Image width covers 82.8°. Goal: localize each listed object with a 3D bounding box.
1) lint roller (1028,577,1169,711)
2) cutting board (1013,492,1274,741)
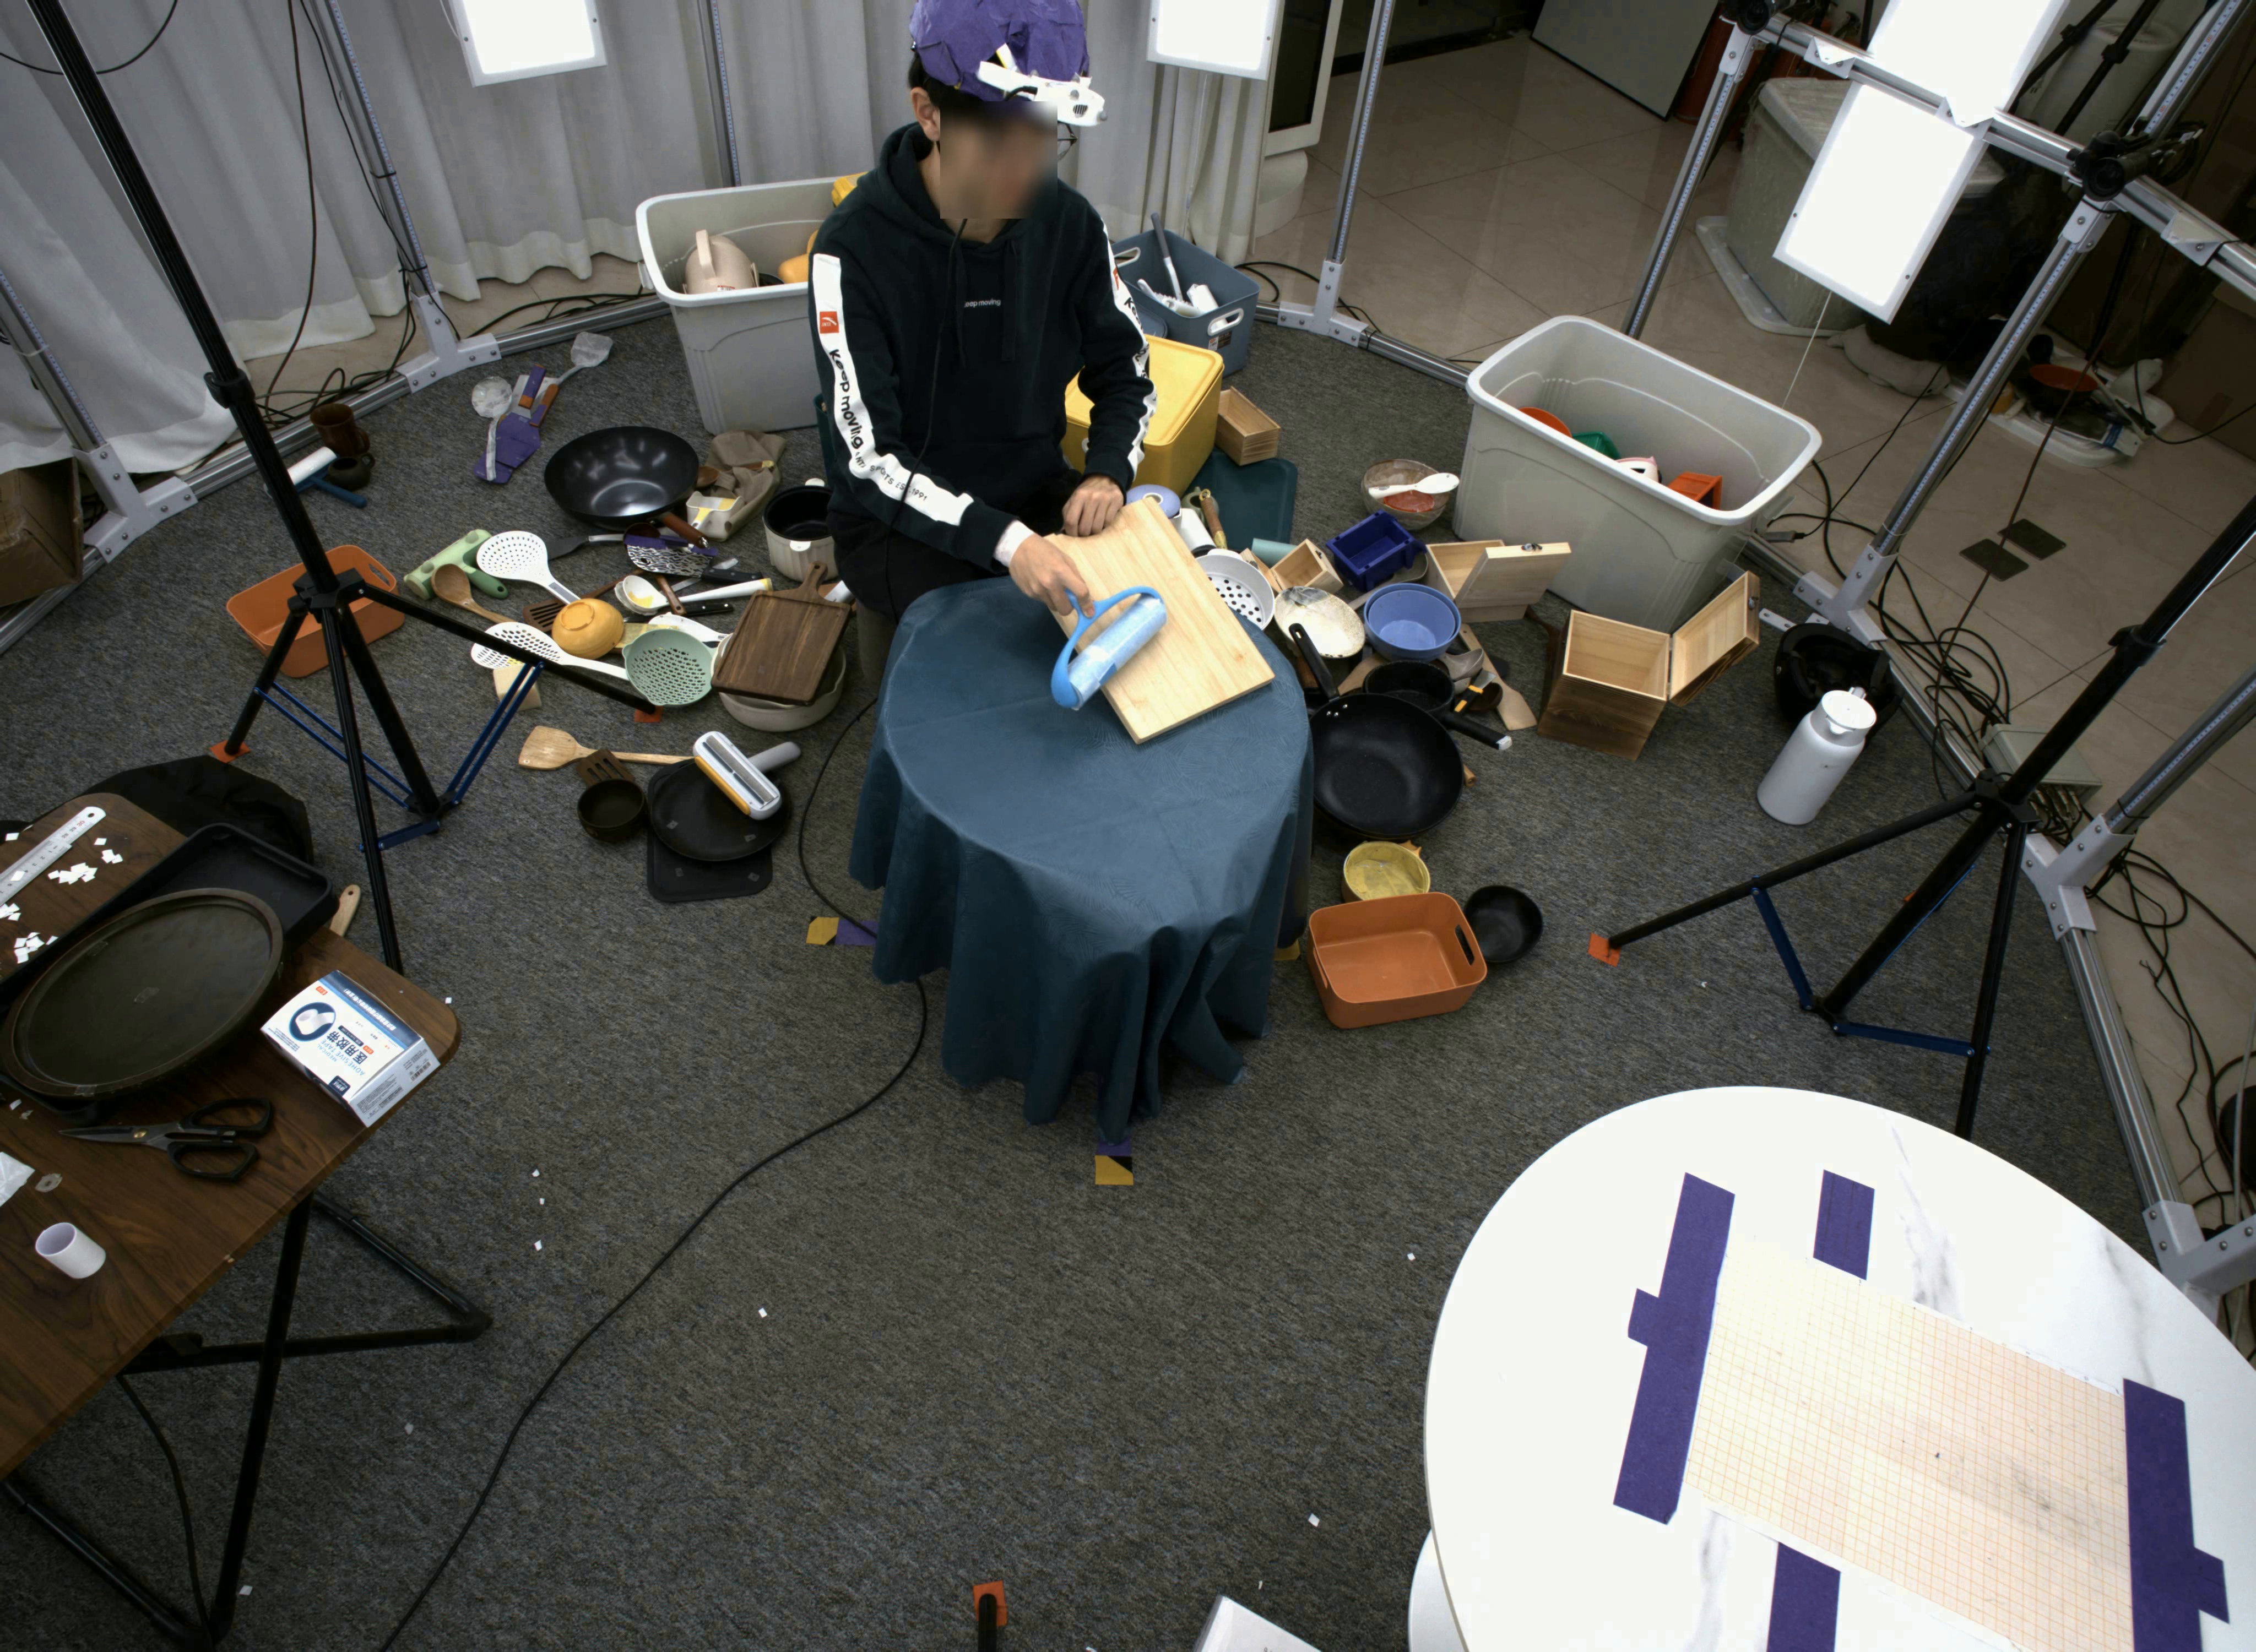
[{"bbox_3d":[-0.063,-0.281,1.765,0.179,0.067,0.232,43,64,-6],"label":"lint roller"},{"bbox_3d":[0.022,-0.307,1.856,0.252,0.023,0.353,-27,74,-24],"label":"cutting board"}]
